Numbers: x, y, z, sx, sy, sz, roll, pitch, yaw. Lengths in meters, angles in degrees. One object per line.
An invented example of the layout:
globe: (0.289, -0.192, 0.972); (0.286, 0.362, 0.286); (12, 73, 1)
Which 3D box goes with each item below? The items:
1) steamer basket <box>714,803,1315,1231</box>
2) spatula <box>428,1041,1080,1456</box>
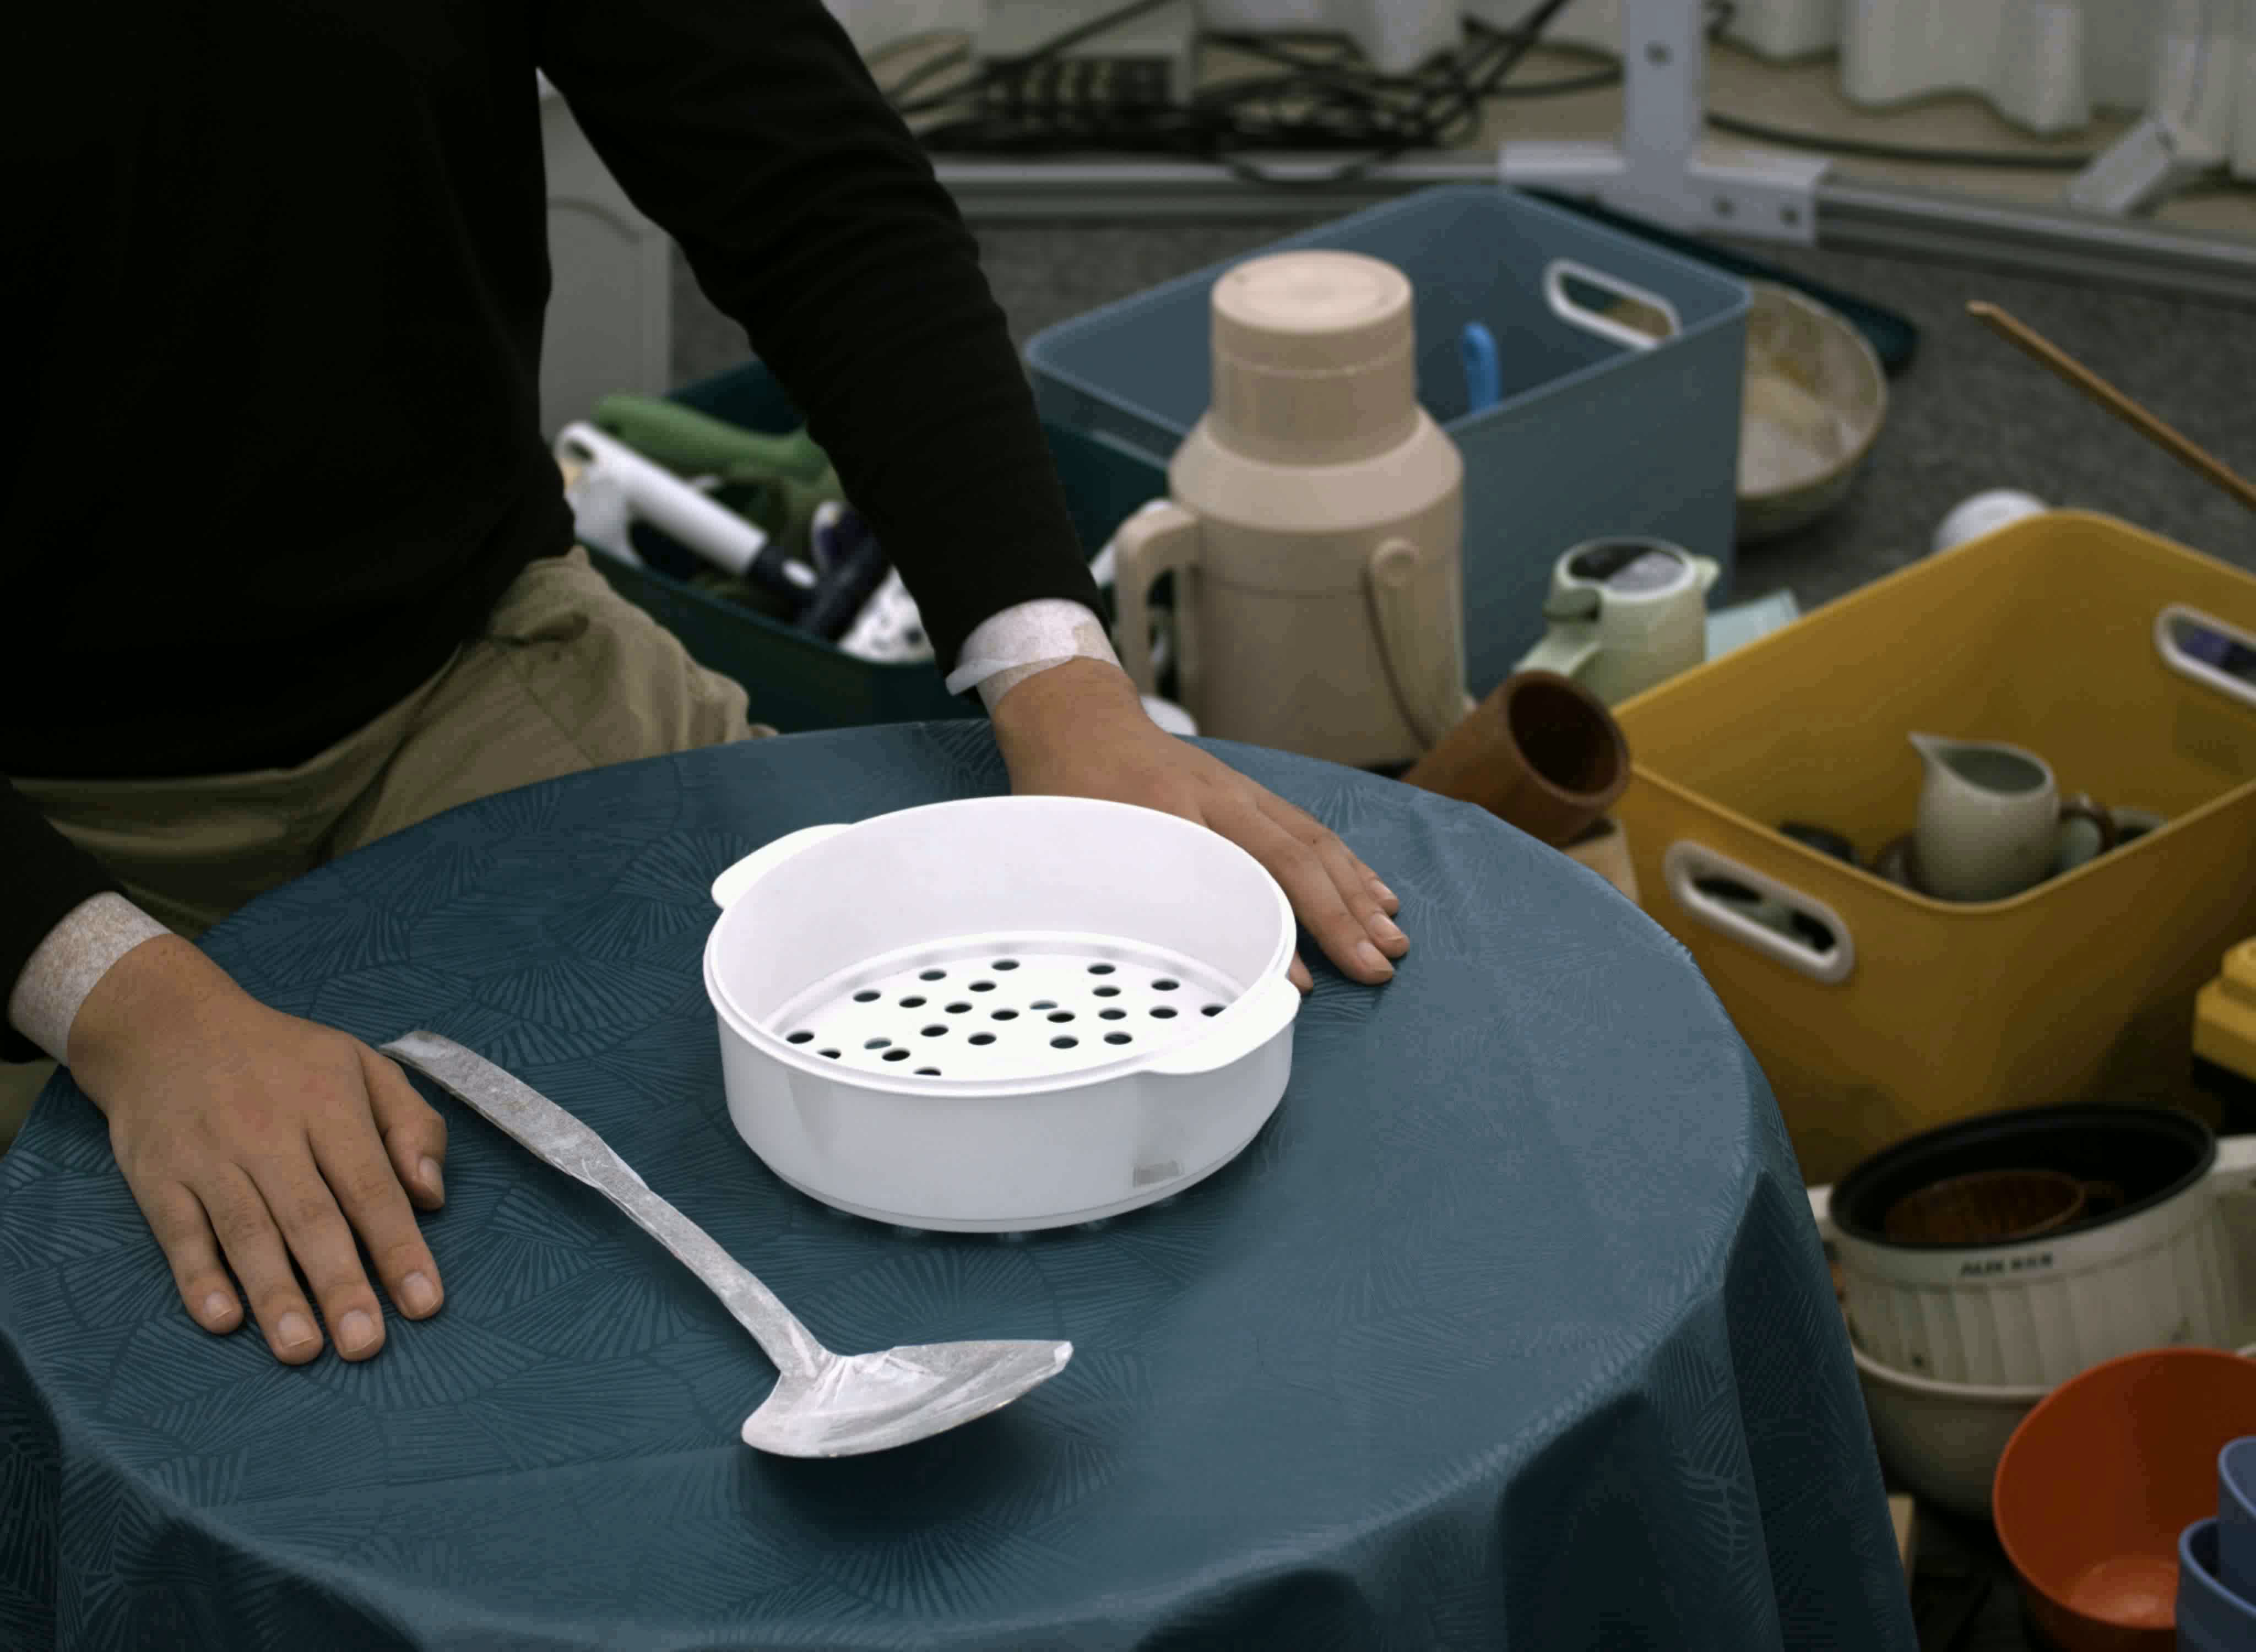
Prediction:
steamer basket: (-0.038, 0.065, 1.899); (0.230, 0.068, 0.204); (19, 33, 37)
spatula: (-0.145, 0.128, 1.823); (0.099, 0.044, 0.366); (-21, 32, -28)
